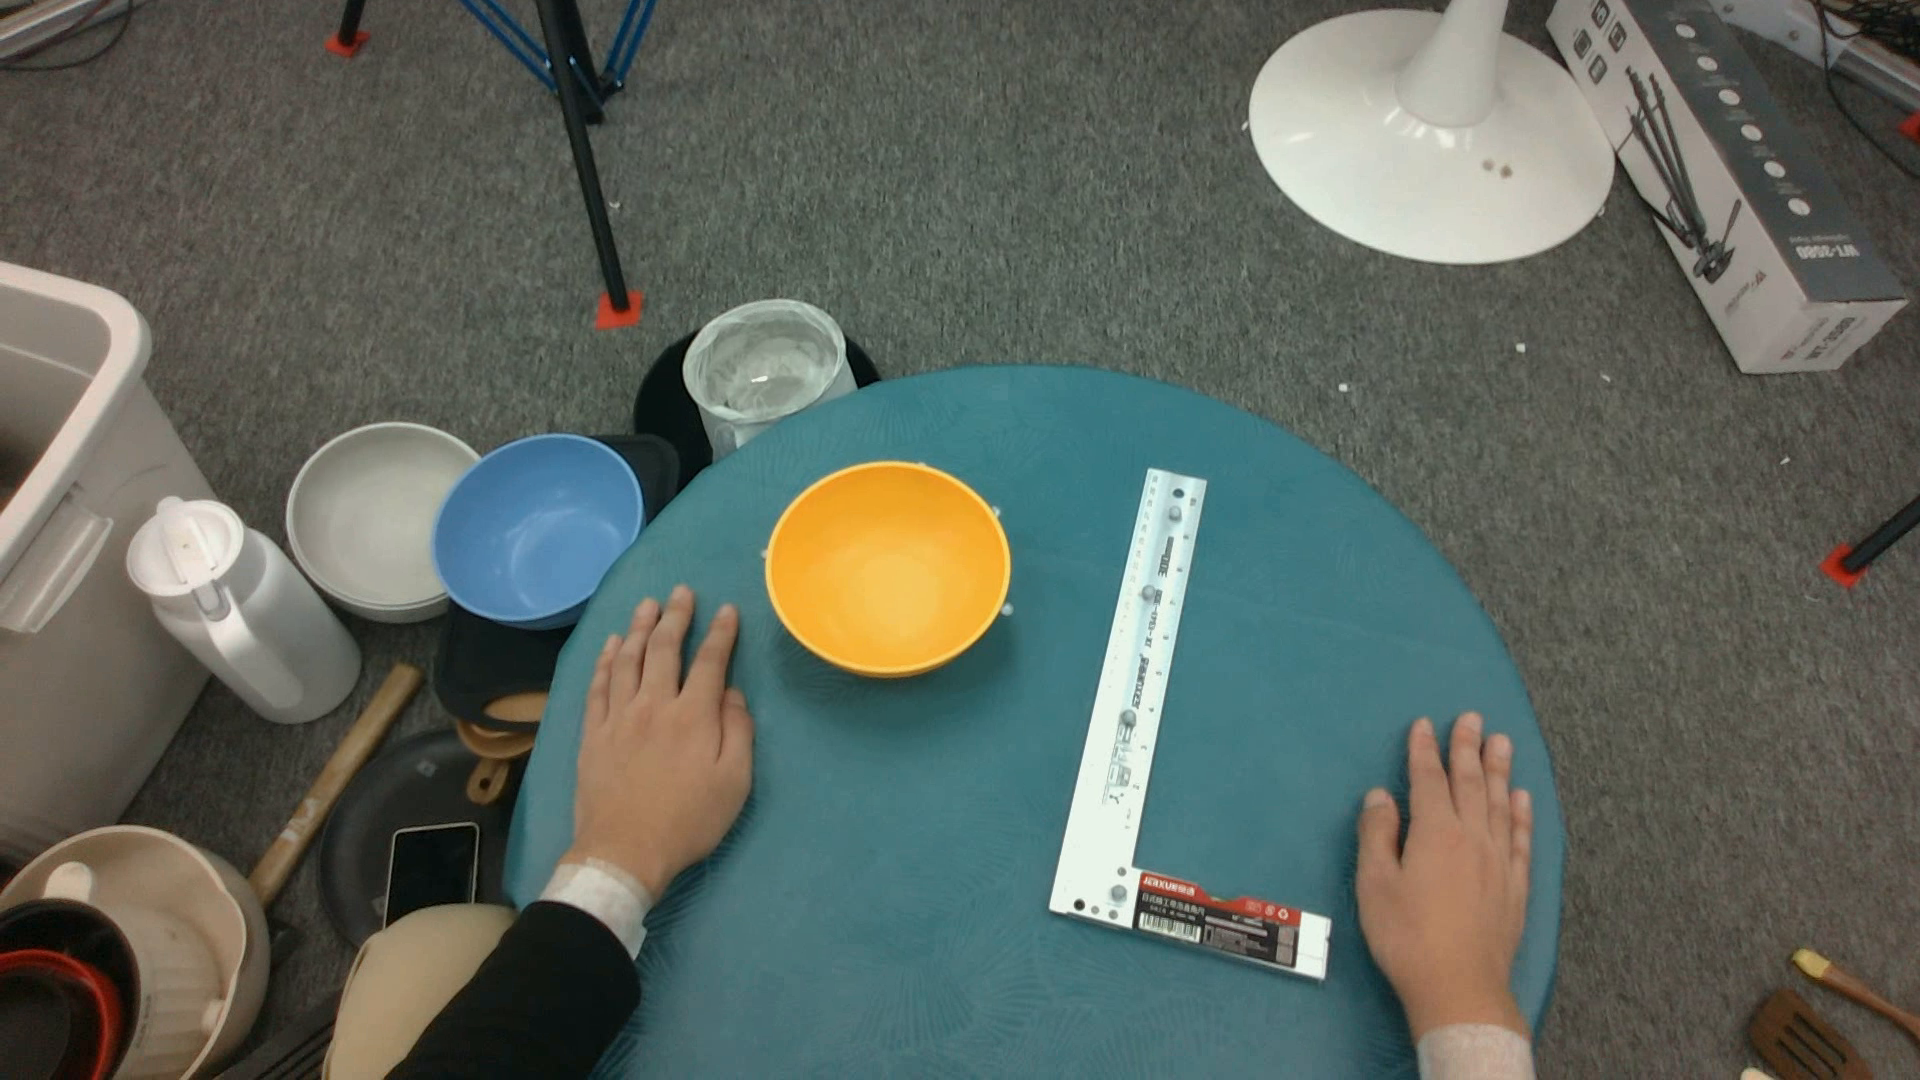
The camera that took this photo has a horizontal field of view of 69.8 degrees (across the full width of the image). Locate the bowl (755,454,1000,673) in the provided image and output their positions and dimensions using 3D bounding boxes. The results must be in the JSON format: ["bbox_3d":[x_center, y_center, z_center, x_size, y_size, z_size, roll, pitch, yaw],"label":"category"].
[{"bbox_3d":[-0.048,0.023,0.833,0.145,0.060,0.146,0,61,1],"label":"bowl"}]

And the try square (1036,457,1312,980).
[{"bbox_3d":[0.150,0.092,0.831,0.152,0.016,0.314,15,59,2],"label":"try square"}]
